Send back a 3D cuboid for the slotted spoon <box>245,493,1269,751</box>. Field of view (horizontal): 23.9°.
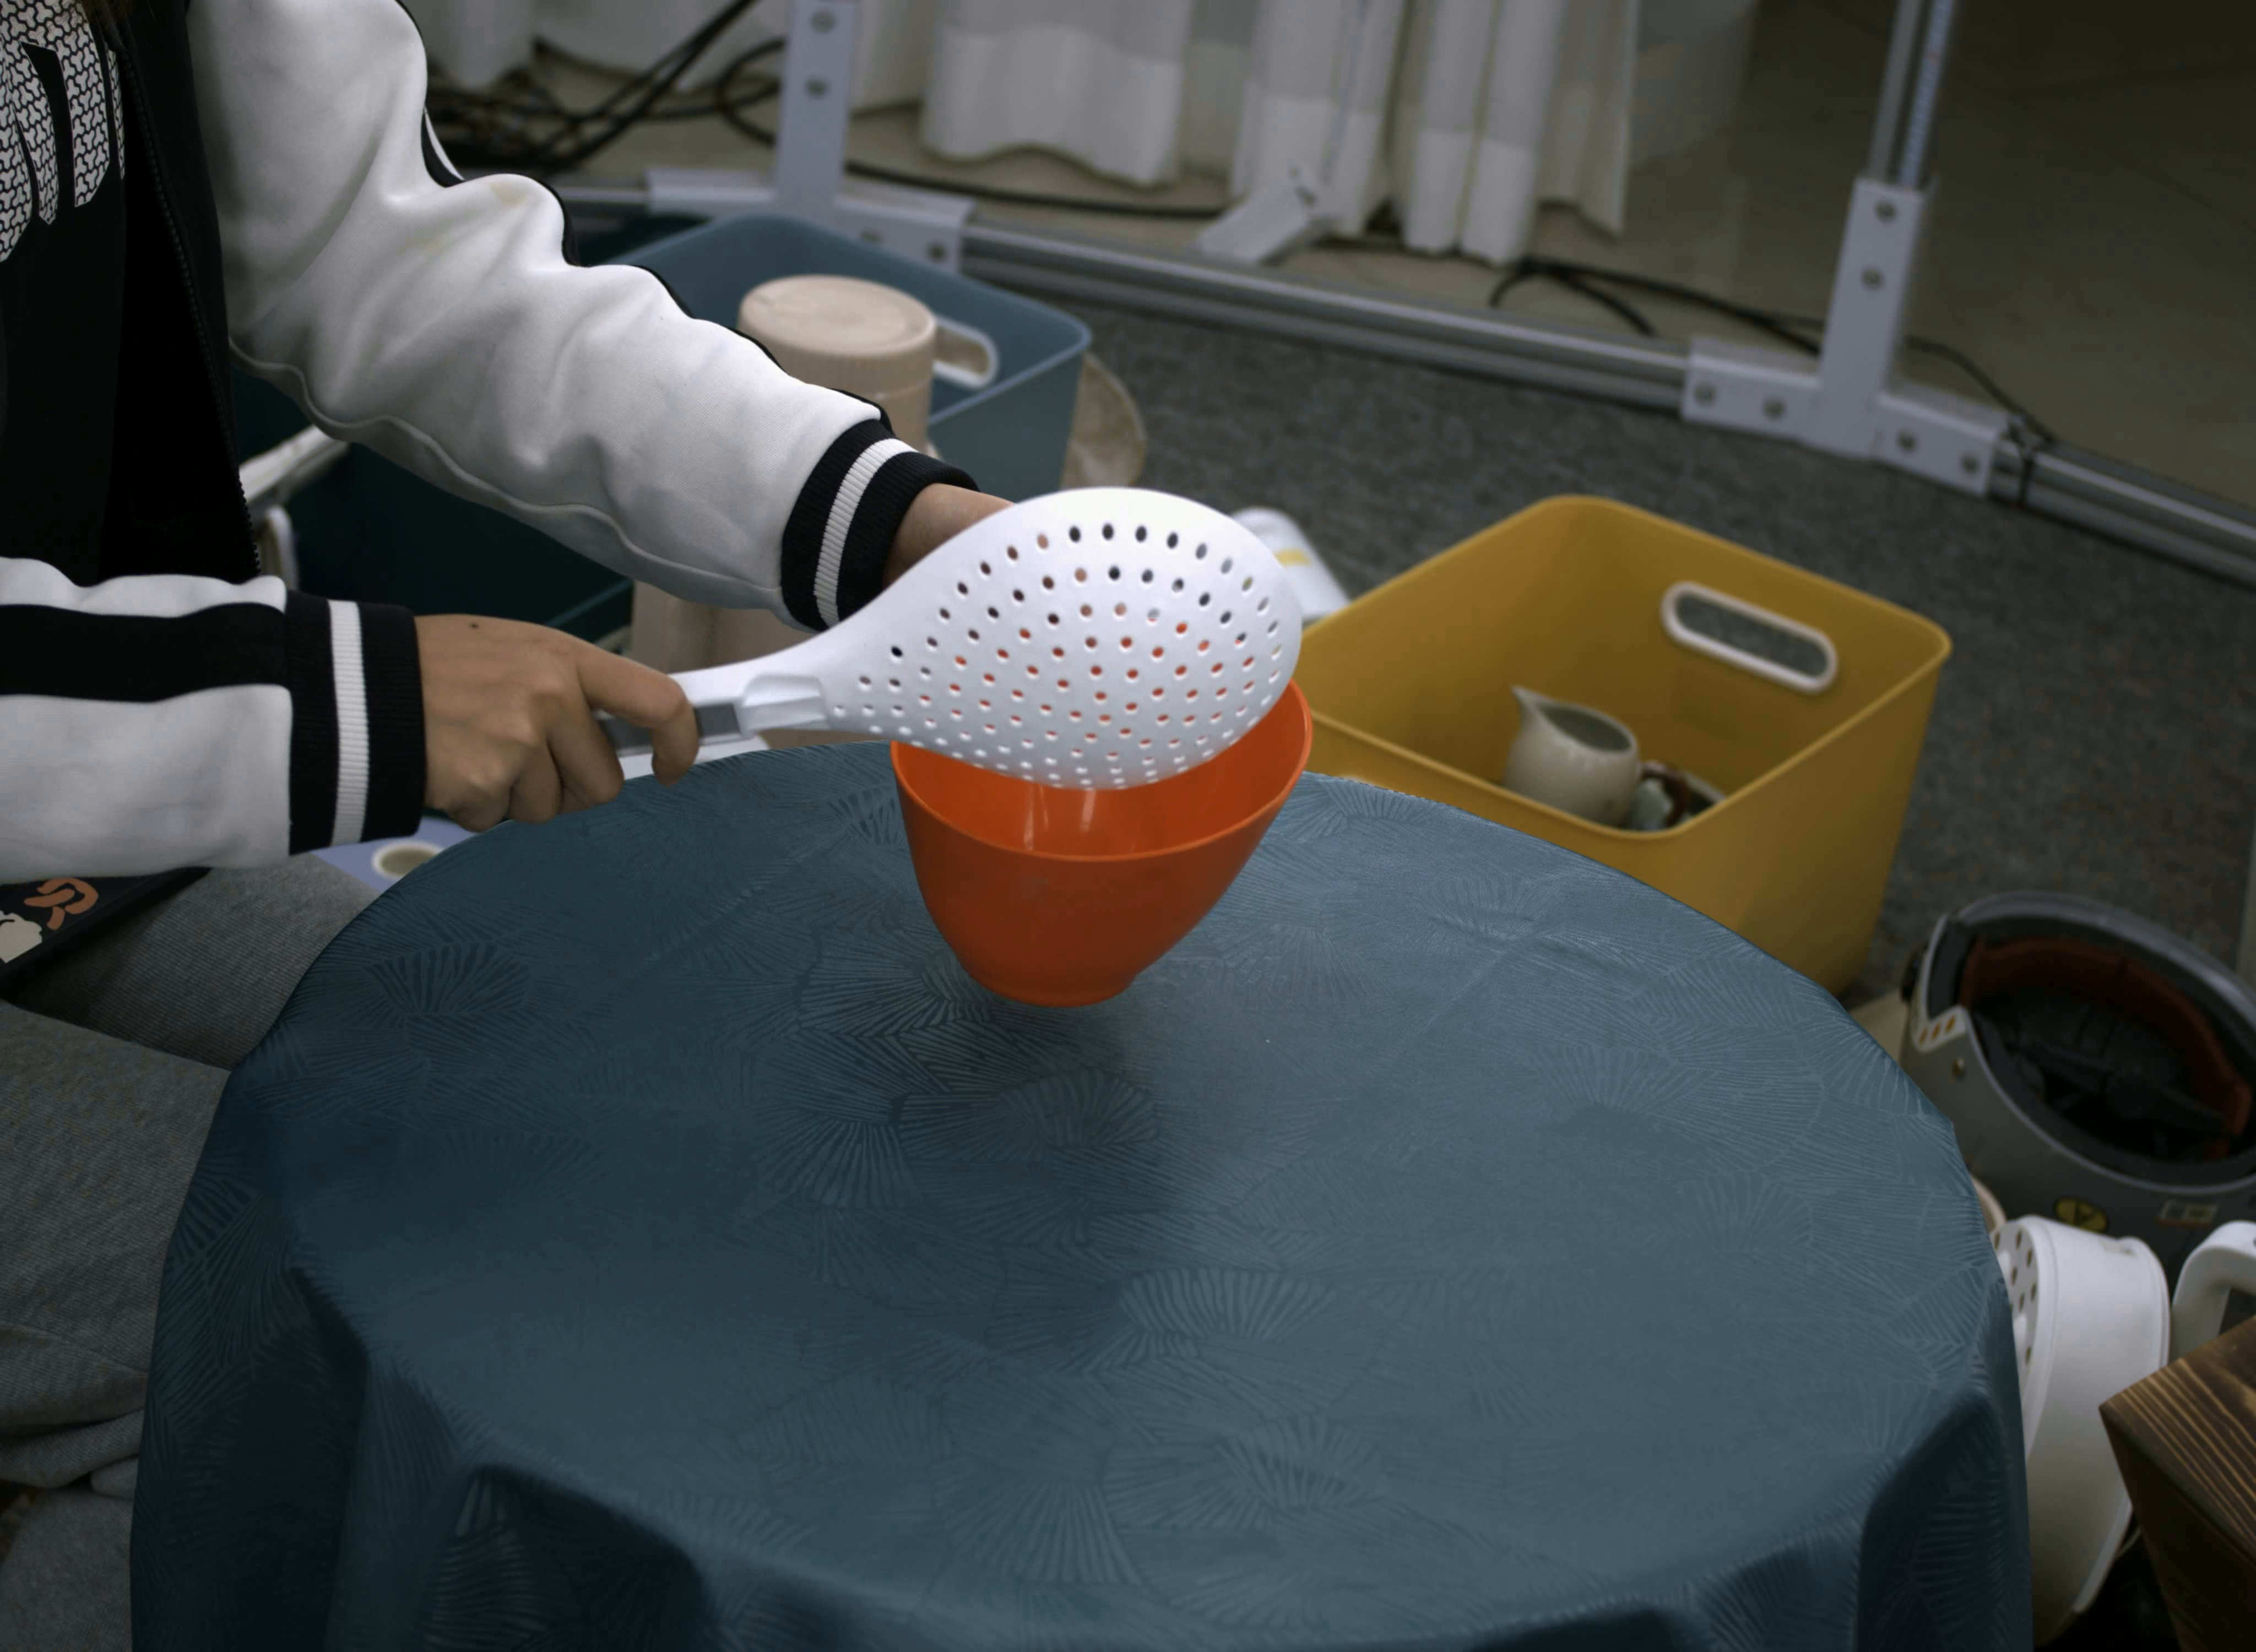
[{"bbox_3d":[-0.127,-0.055,1.774,0.350,0.135,0.046,-2,61,13],"label":"slotted spoon"}]

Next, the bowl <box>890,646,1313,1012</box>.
[{"bbox_3d":[-0.013,0.004,1.888,0.147,0.104,0.149,5,33,-3],"label":"bowl"}]
